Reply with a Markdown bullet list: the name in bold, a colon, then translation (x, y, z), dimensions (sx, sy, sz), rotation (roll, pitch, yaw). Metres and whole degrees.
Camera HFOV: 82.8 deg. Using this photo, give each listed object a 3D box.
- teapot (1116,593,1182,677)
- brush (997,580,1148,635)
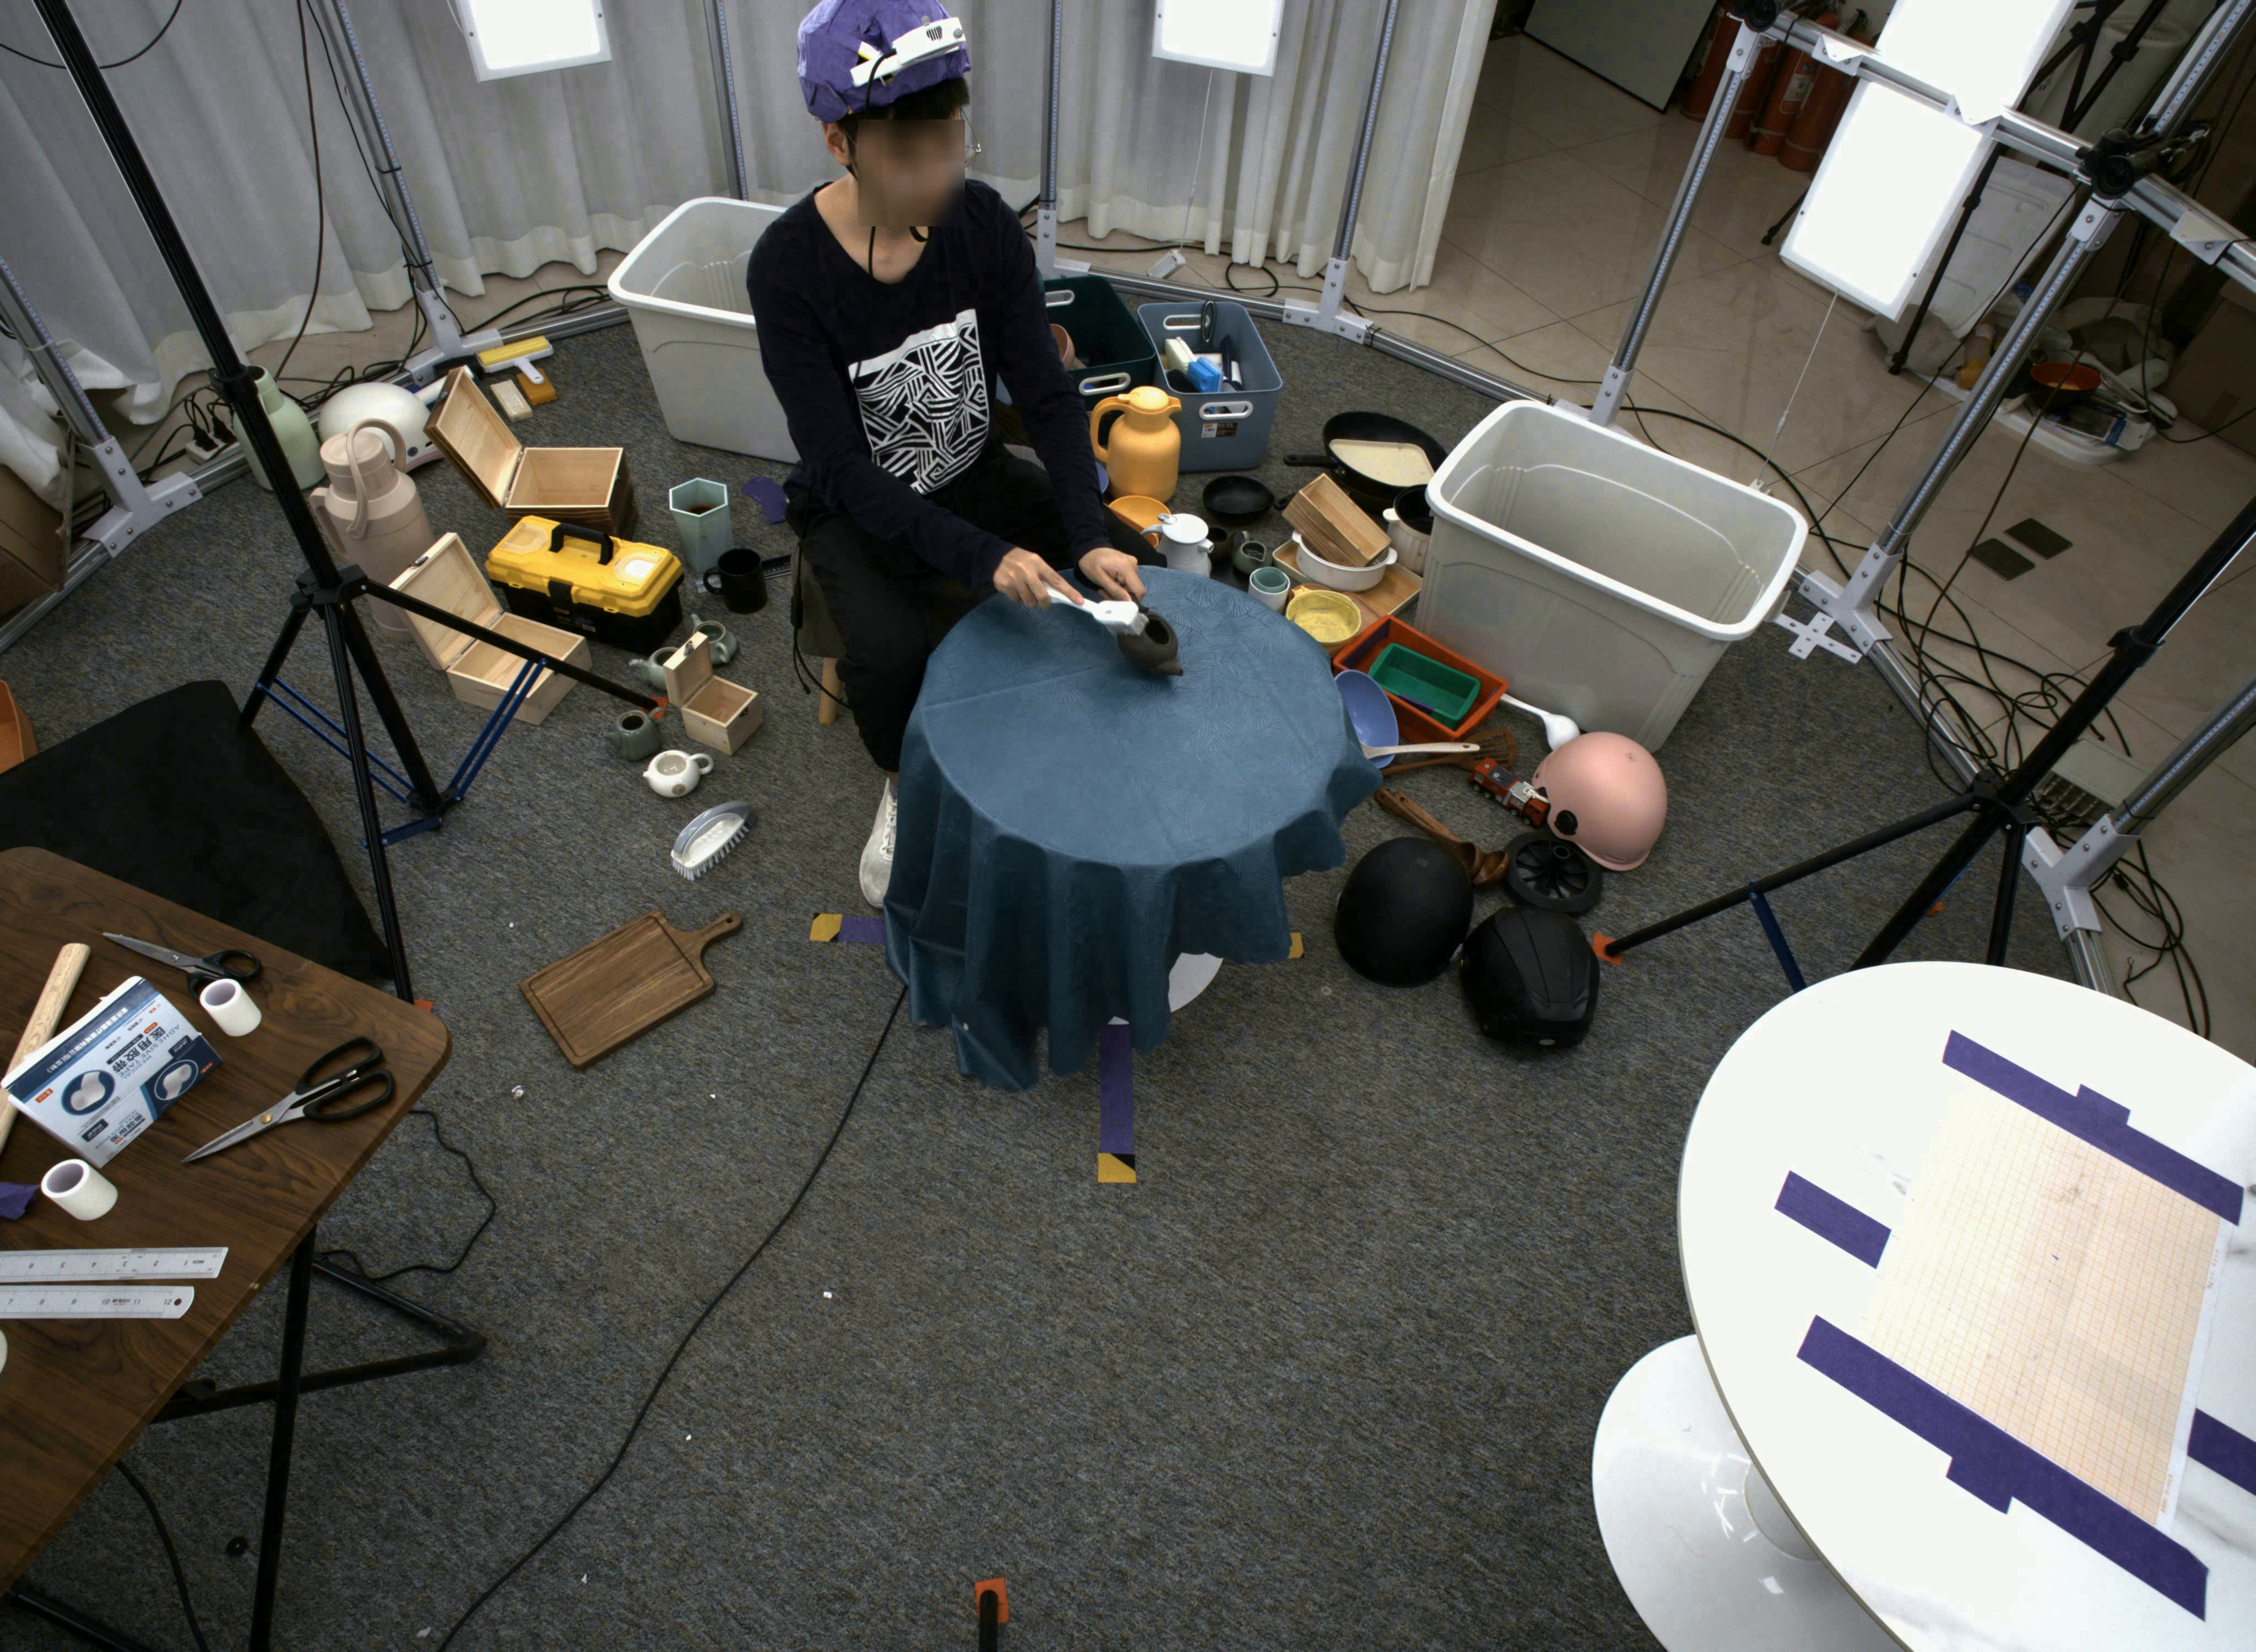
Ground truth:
- **teapot**: translation (0.026, -0.269, 1.853), dimensions (0.092, 0.063, 0.156), rotation (-16, 69, -46)
- **brush**: translation (-0.081, -0.314, 1.843), dimensions (0.246, 0.049, 0.035), rotation (17, 75, 29)
